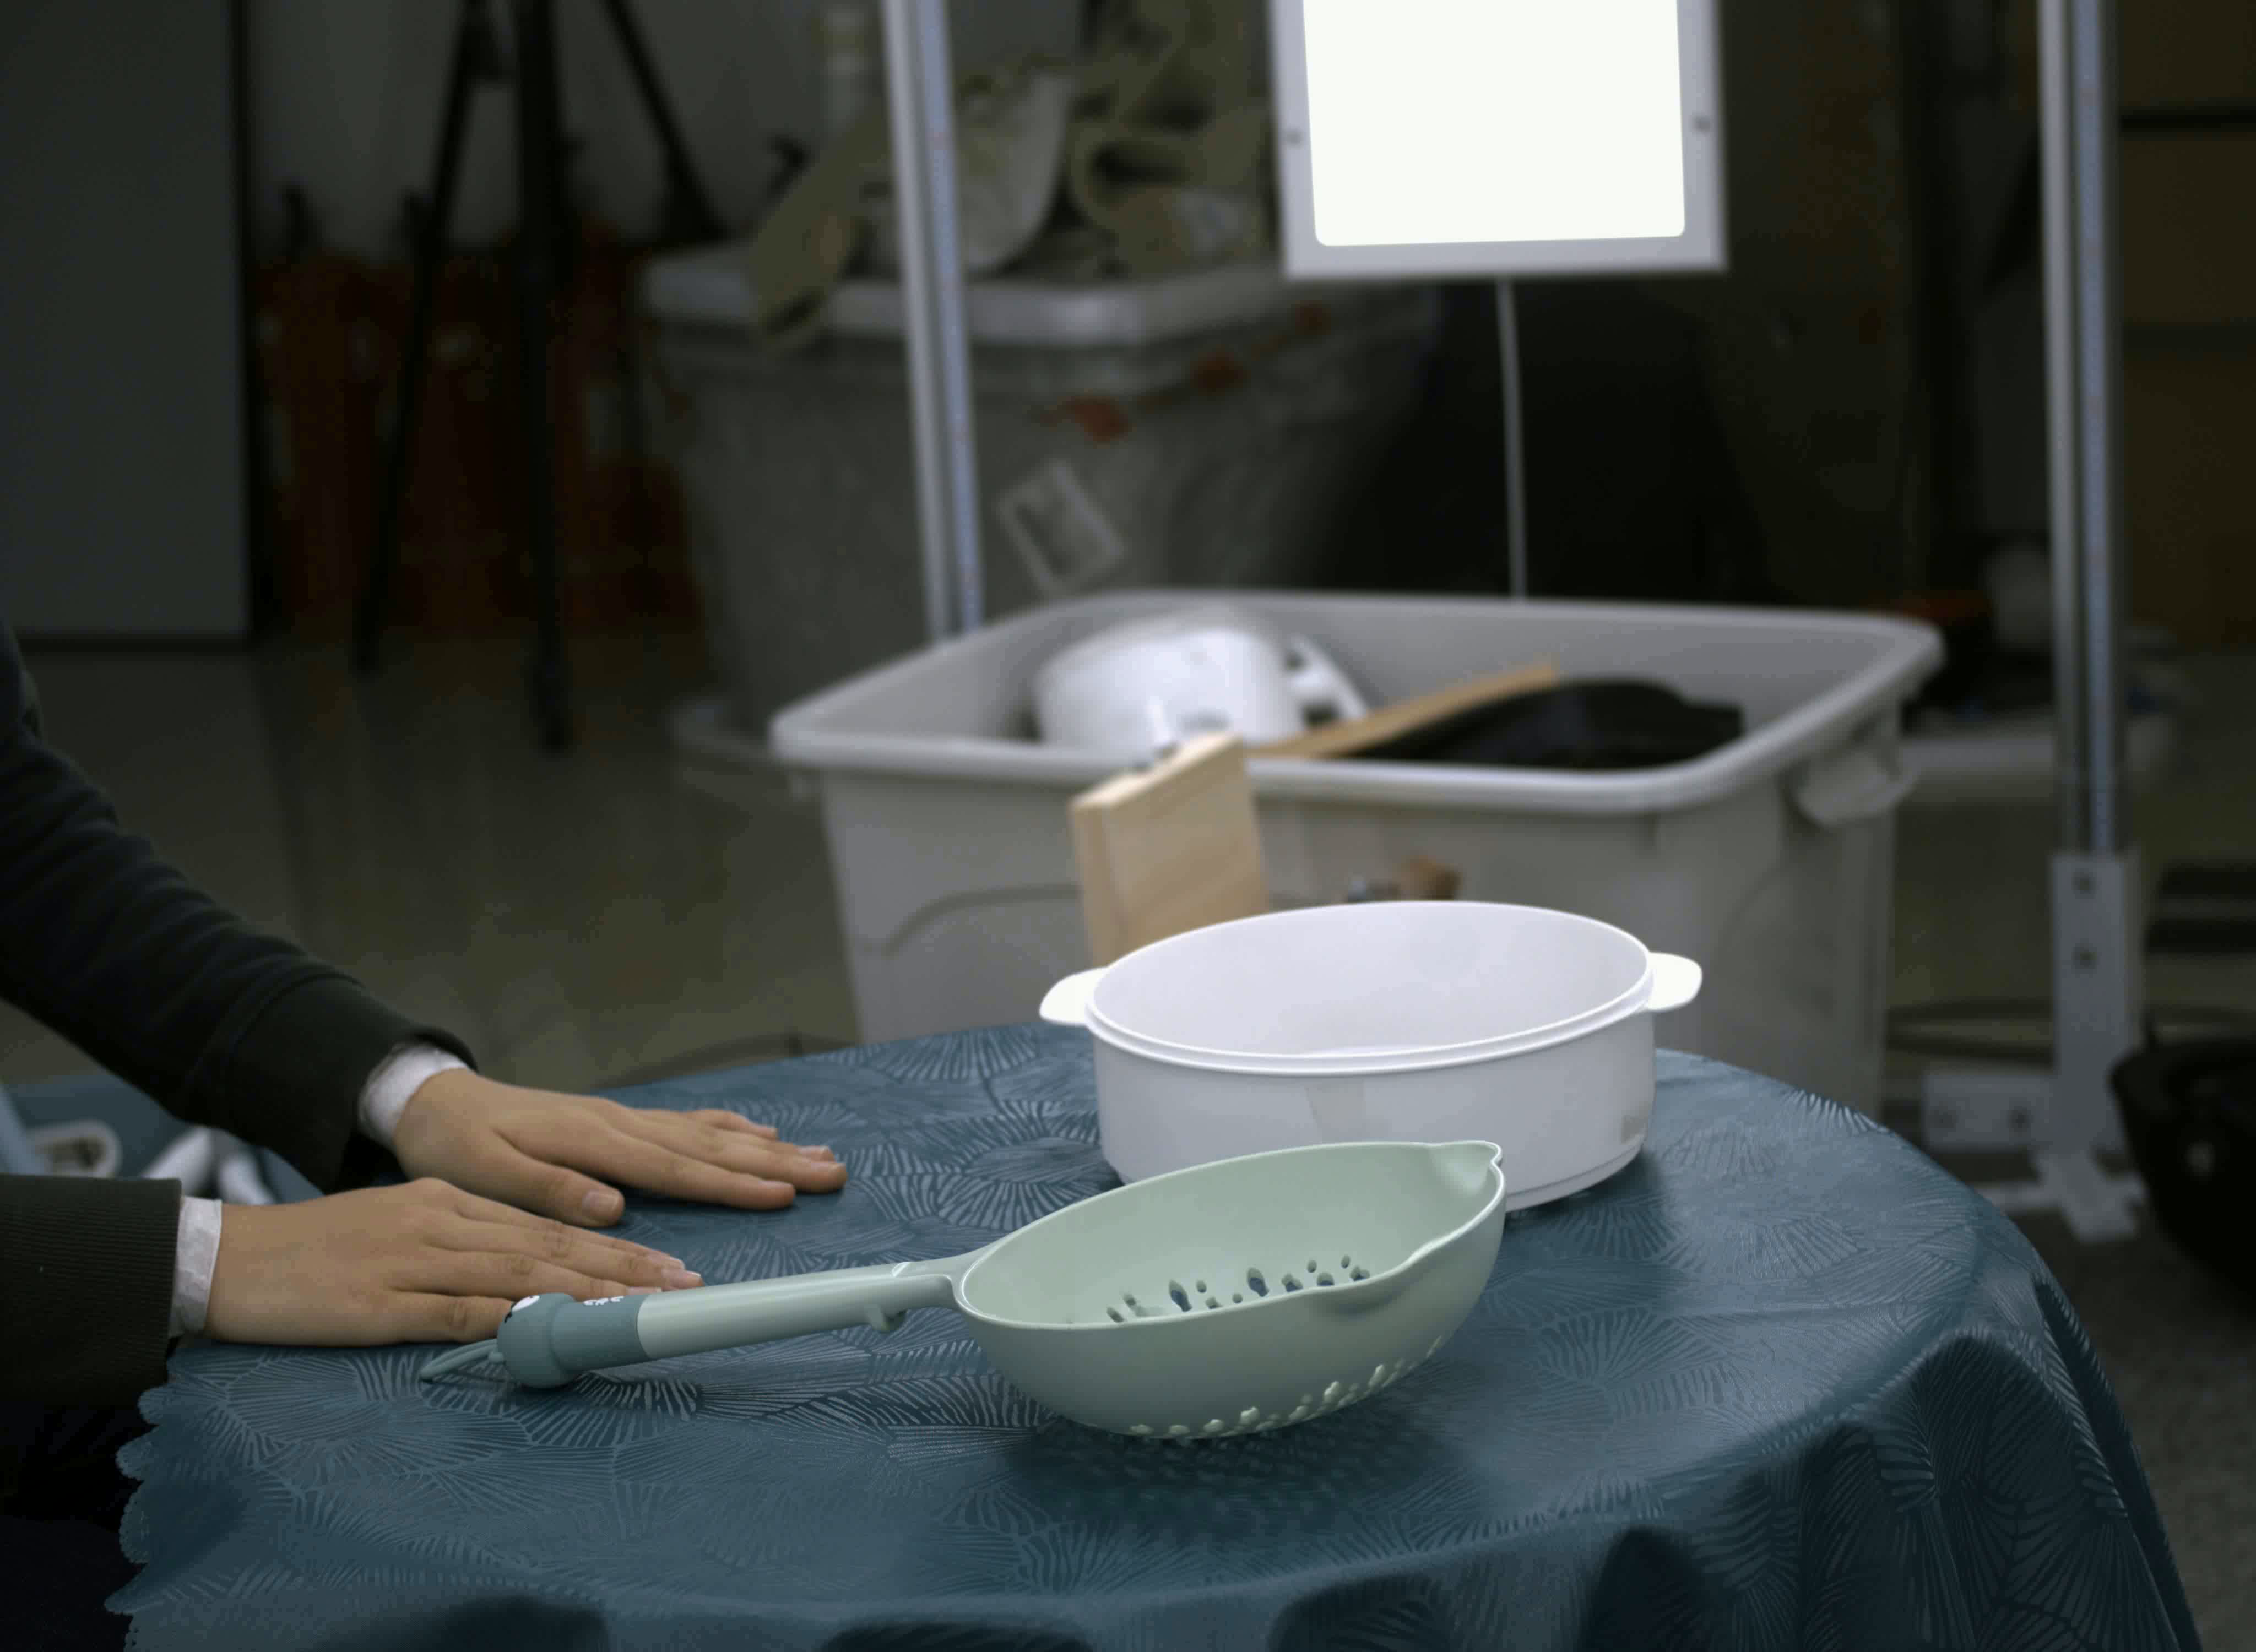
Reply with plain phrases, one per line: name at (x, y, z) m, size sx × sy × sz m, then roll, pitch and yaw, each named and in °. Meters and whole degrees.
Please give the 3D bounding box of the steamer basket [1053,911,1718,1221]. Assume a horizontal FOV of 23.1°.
steamer basket at (0.091, 0.085, 1.900) m, size 0.232 × 0.069 × 0.200 m, roll -2°, pitch 13°, yaw 11°

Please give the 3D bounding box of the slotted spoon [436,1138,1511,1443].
slotted spoon at (-0.055, 0.146, 1.701) m, size 0.364 × 0.075 × 0.166 m, roll 0°, pitch 14°, yaw 21°
